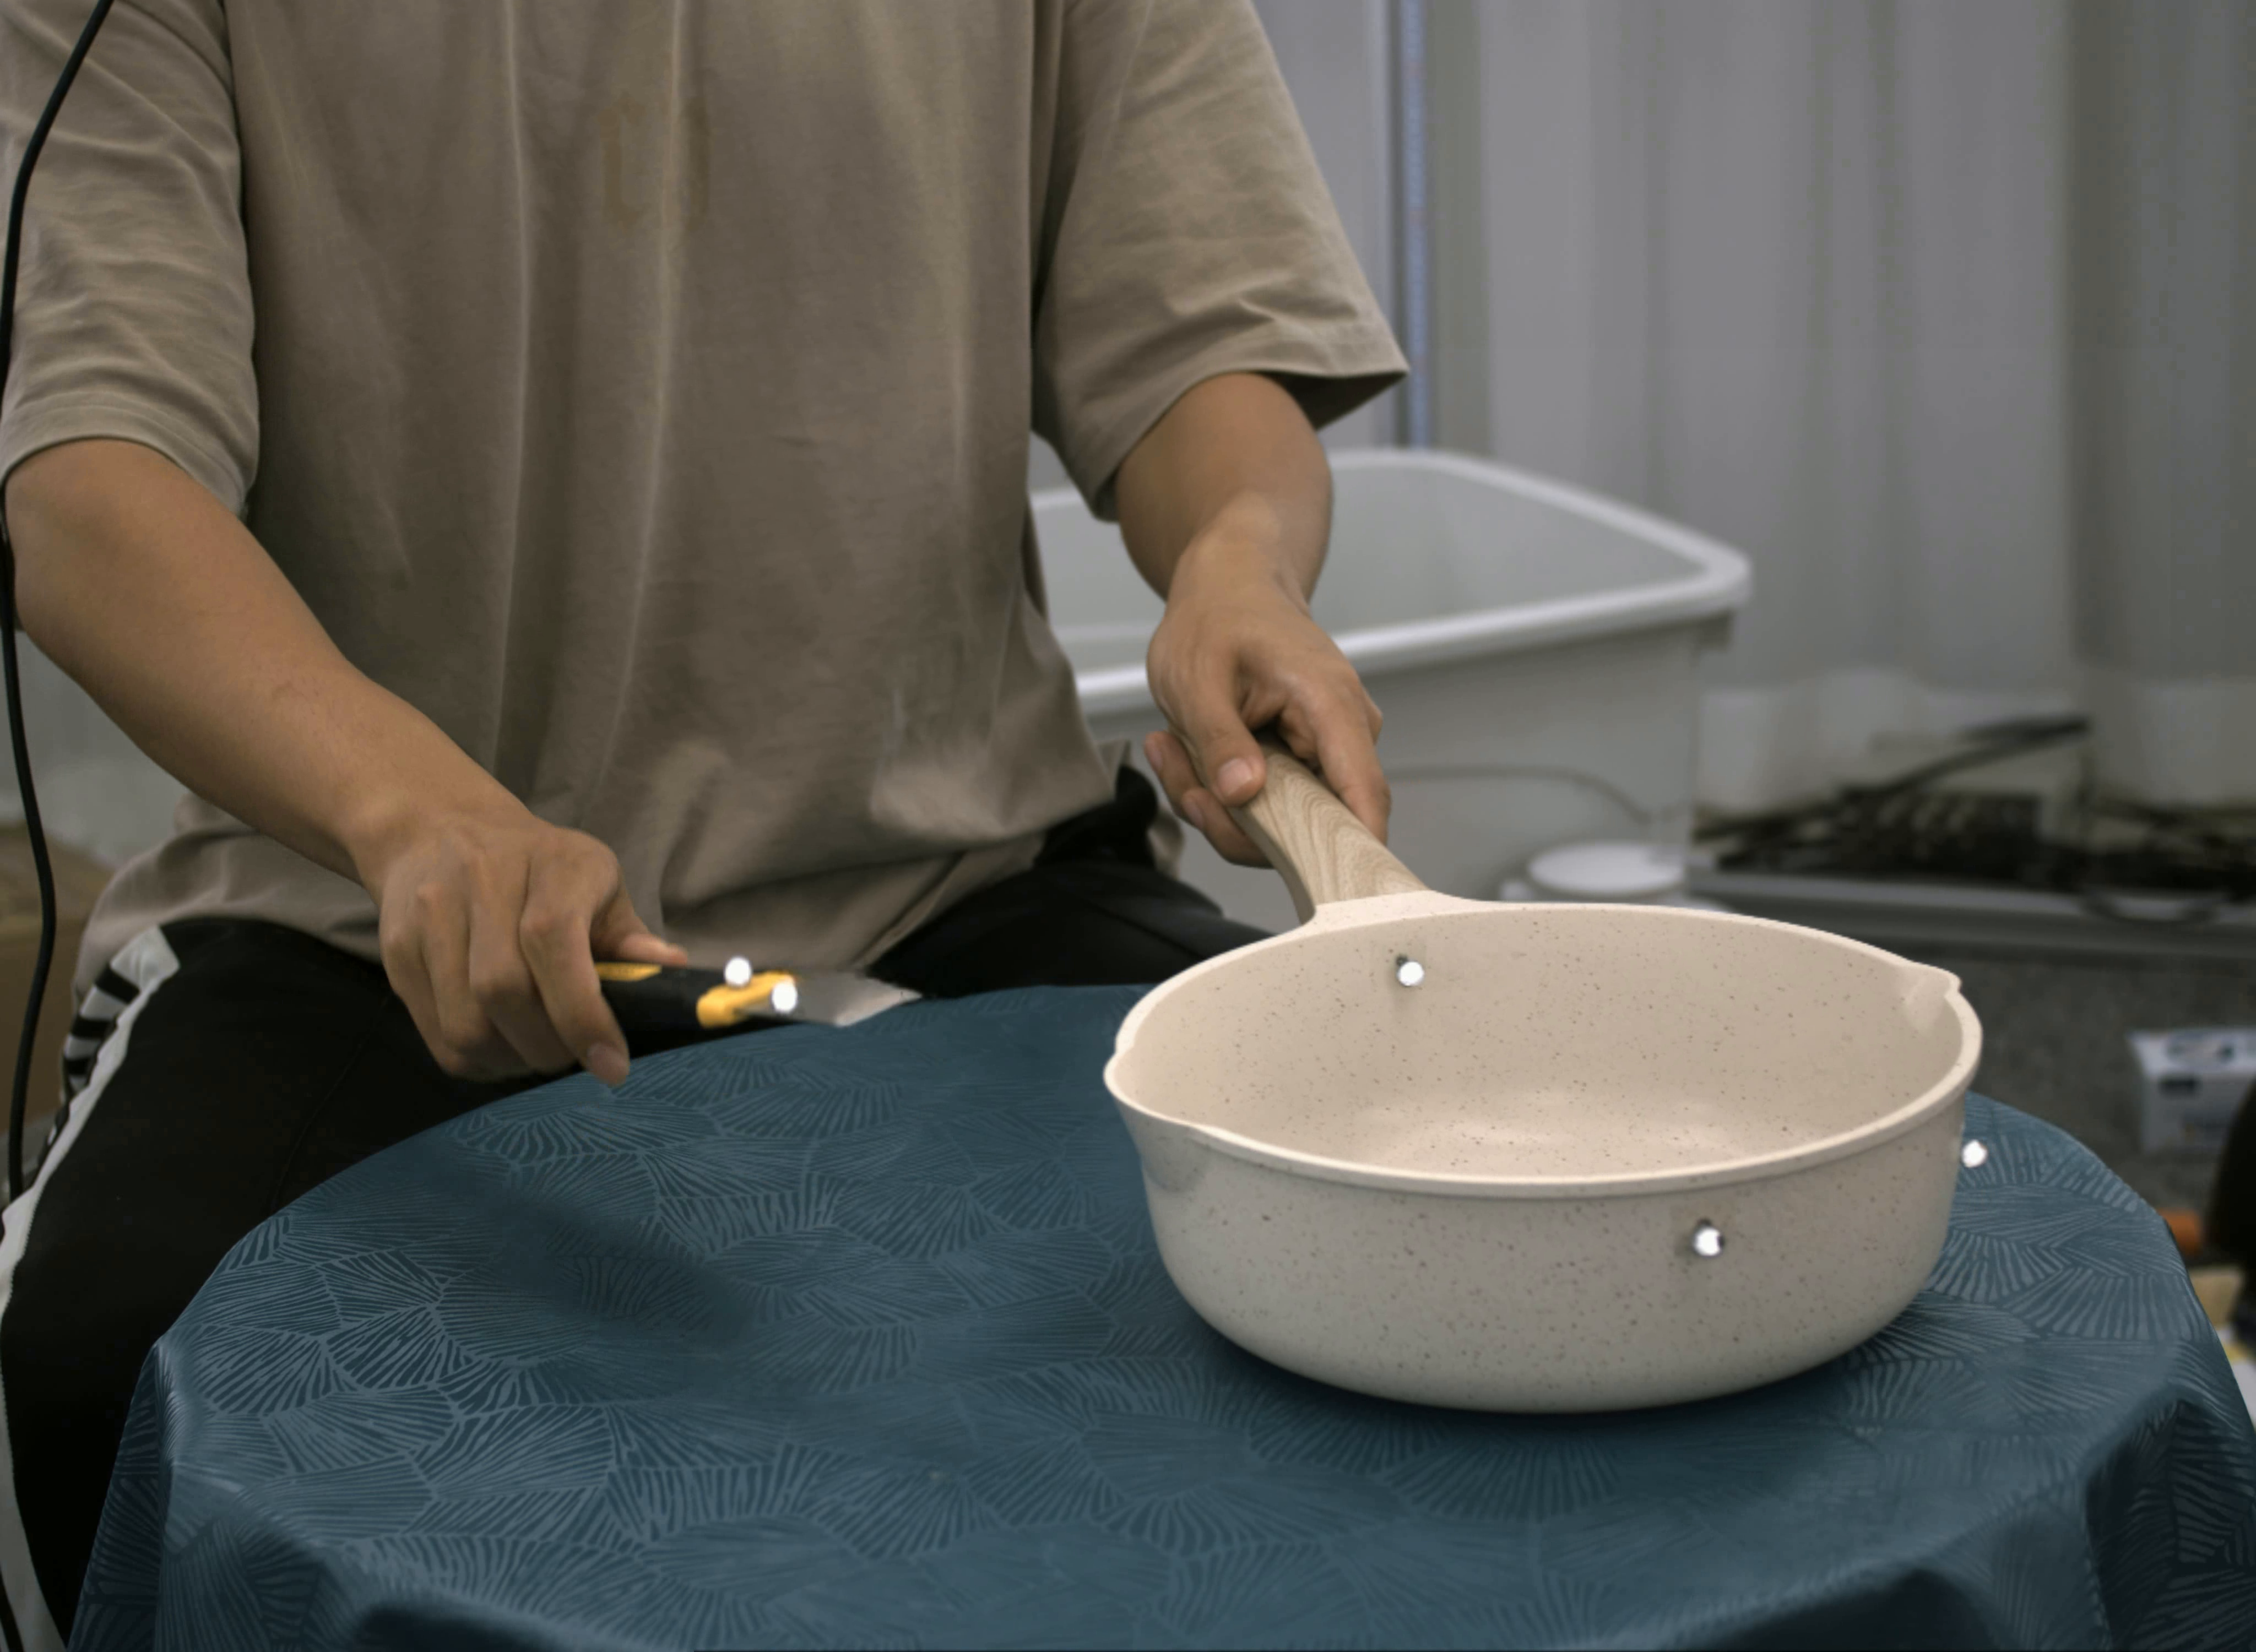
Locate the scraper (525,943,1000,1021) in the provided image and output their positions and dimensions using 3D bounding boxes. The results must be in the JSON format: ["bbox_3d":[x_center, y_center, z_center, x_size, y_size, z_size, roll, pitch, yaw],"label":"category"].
[{"bbox_3d":[-0.110,0.046,1.579,0.171,0.015,0.039,0,21,41],"label":"scraper"}]

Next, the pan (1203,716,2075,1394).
[{"bbox_3d":[0.121,0.063,1.680,0.262,0.101,0.438,-10,17,-16],"label":"pan"}]
